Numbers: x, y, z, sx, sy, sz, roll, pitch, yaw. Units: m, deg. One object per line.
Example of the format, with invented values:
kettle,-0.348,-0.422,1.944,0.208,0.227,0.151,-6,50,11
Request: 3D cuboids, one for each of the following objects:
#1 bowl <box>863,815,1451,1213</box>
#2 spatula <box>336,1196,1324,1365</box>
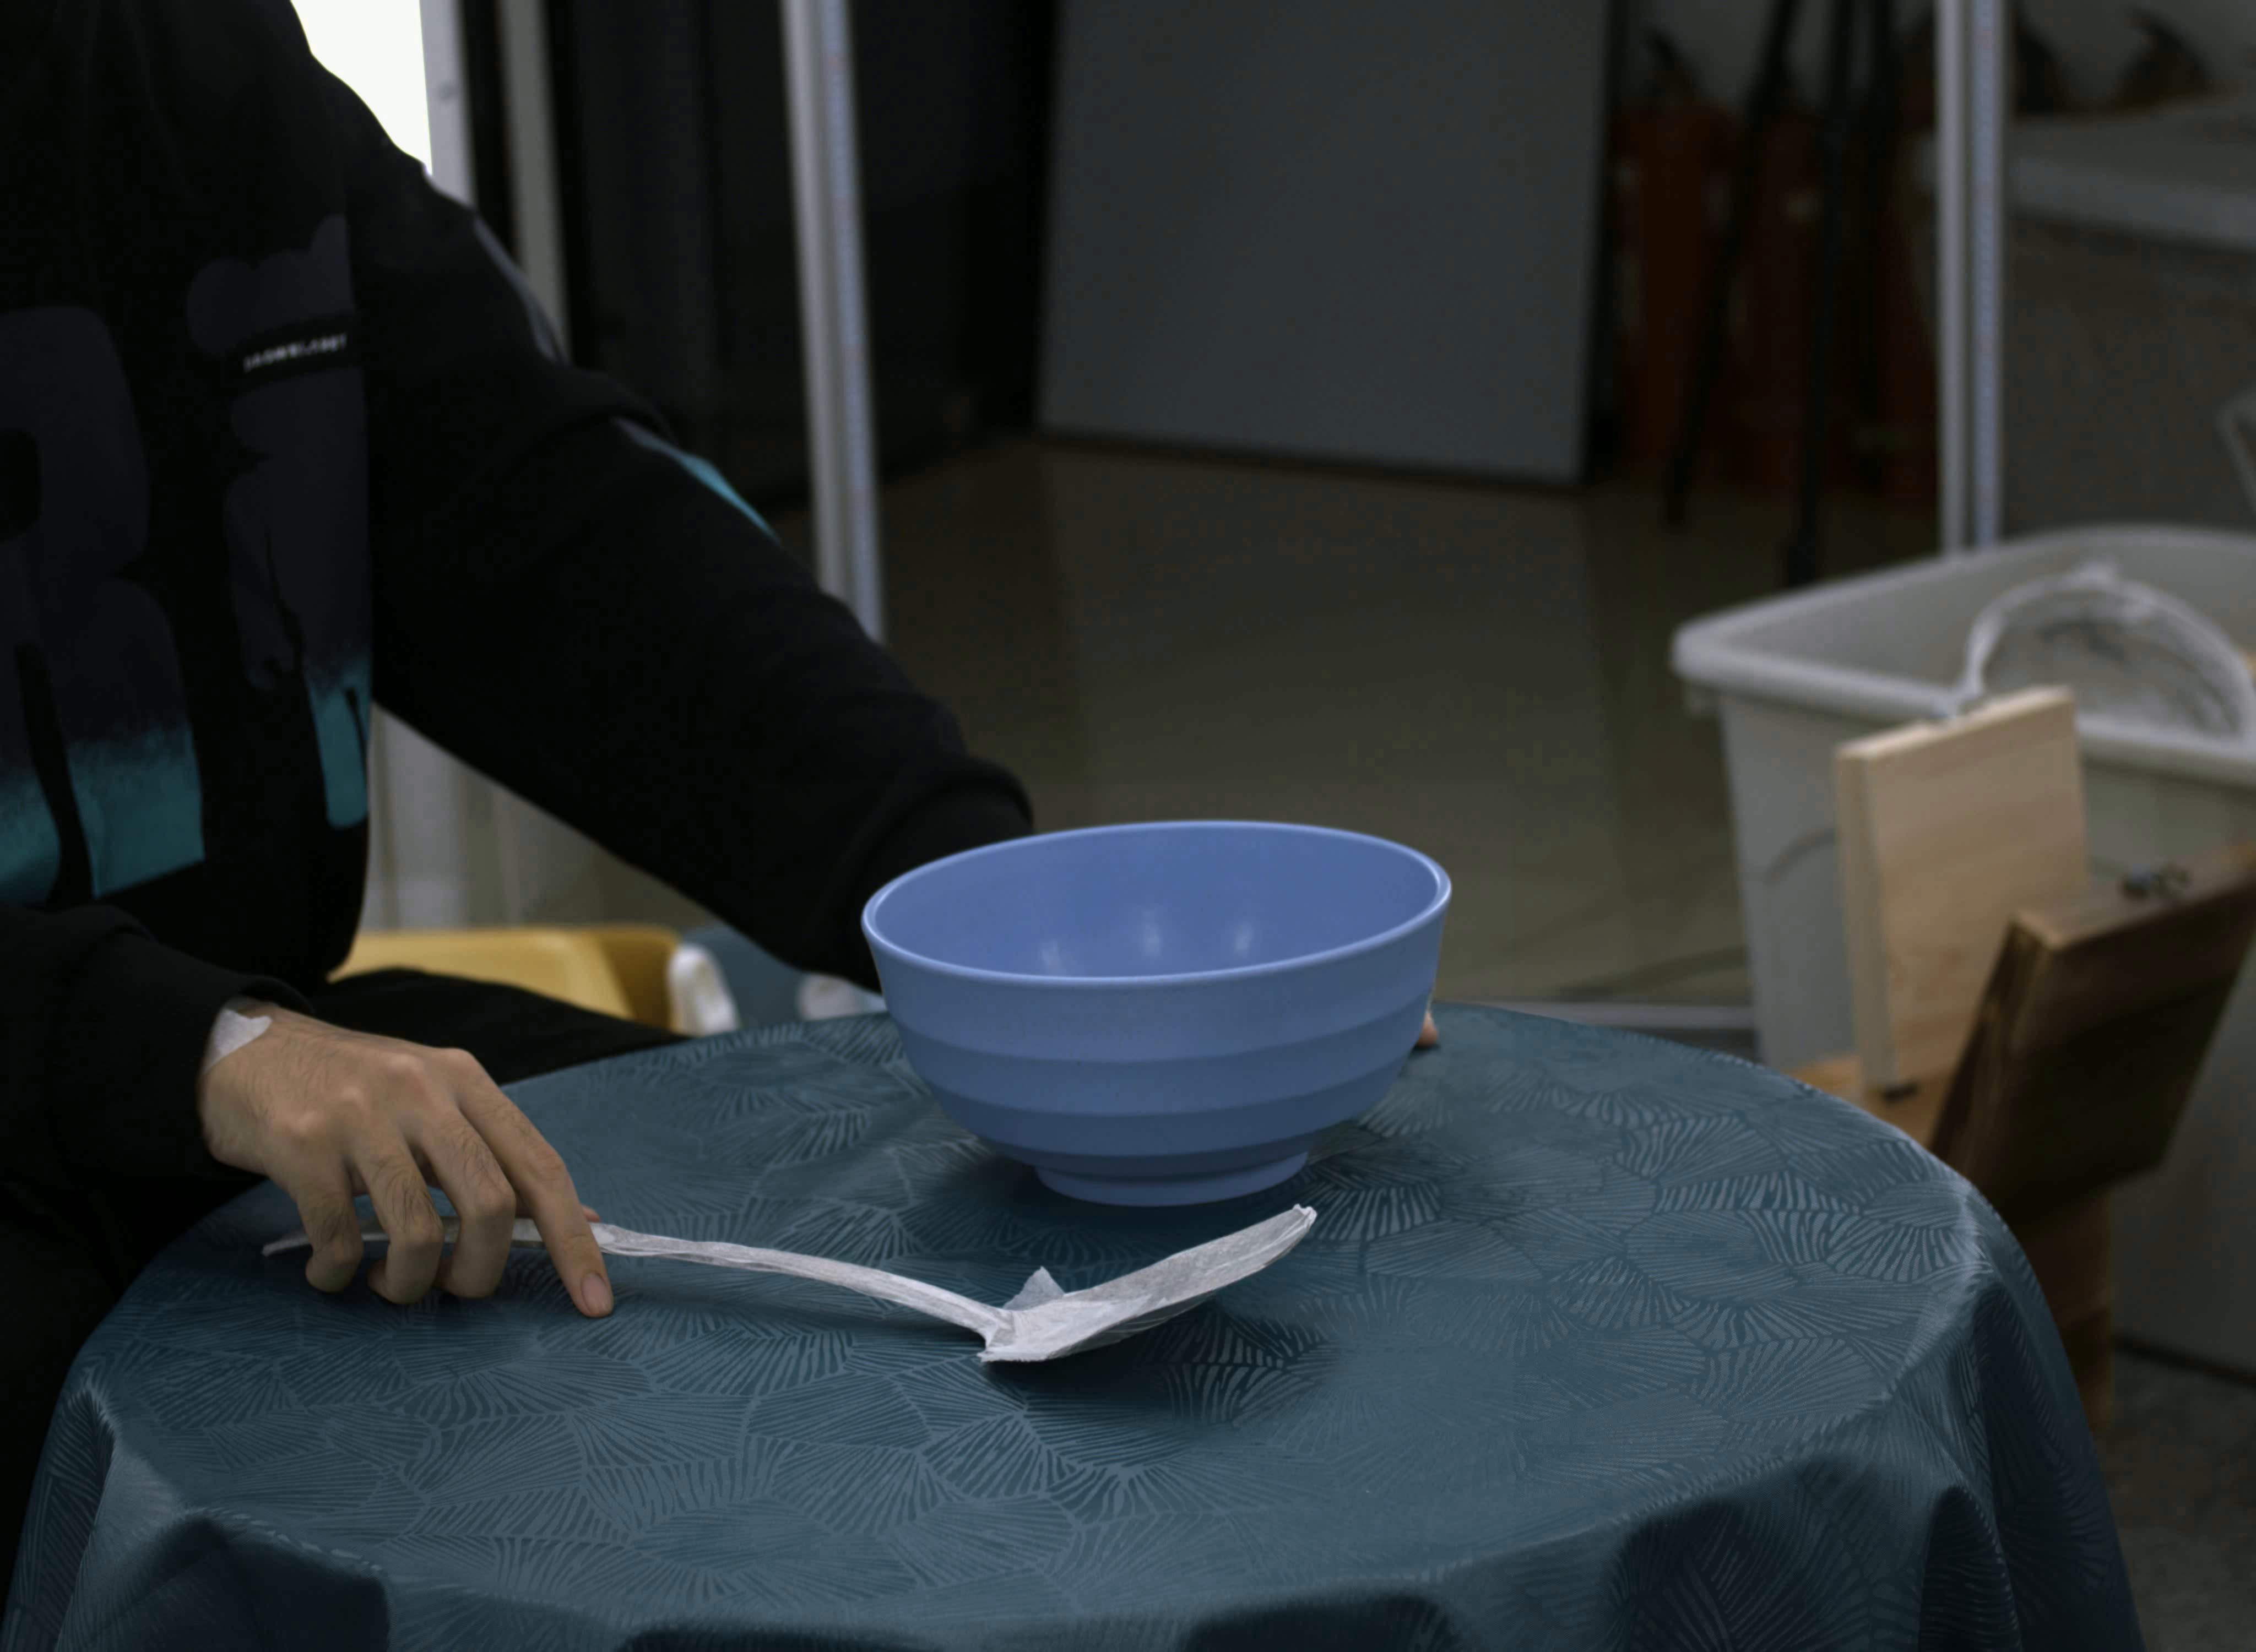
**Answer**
bowl,0.012,0.068,1.785,0.194,0.096,0.197,-4,15,0
spatula,-0.109,0.132,1.679,0.366,0.045,0.097,4,18,30
